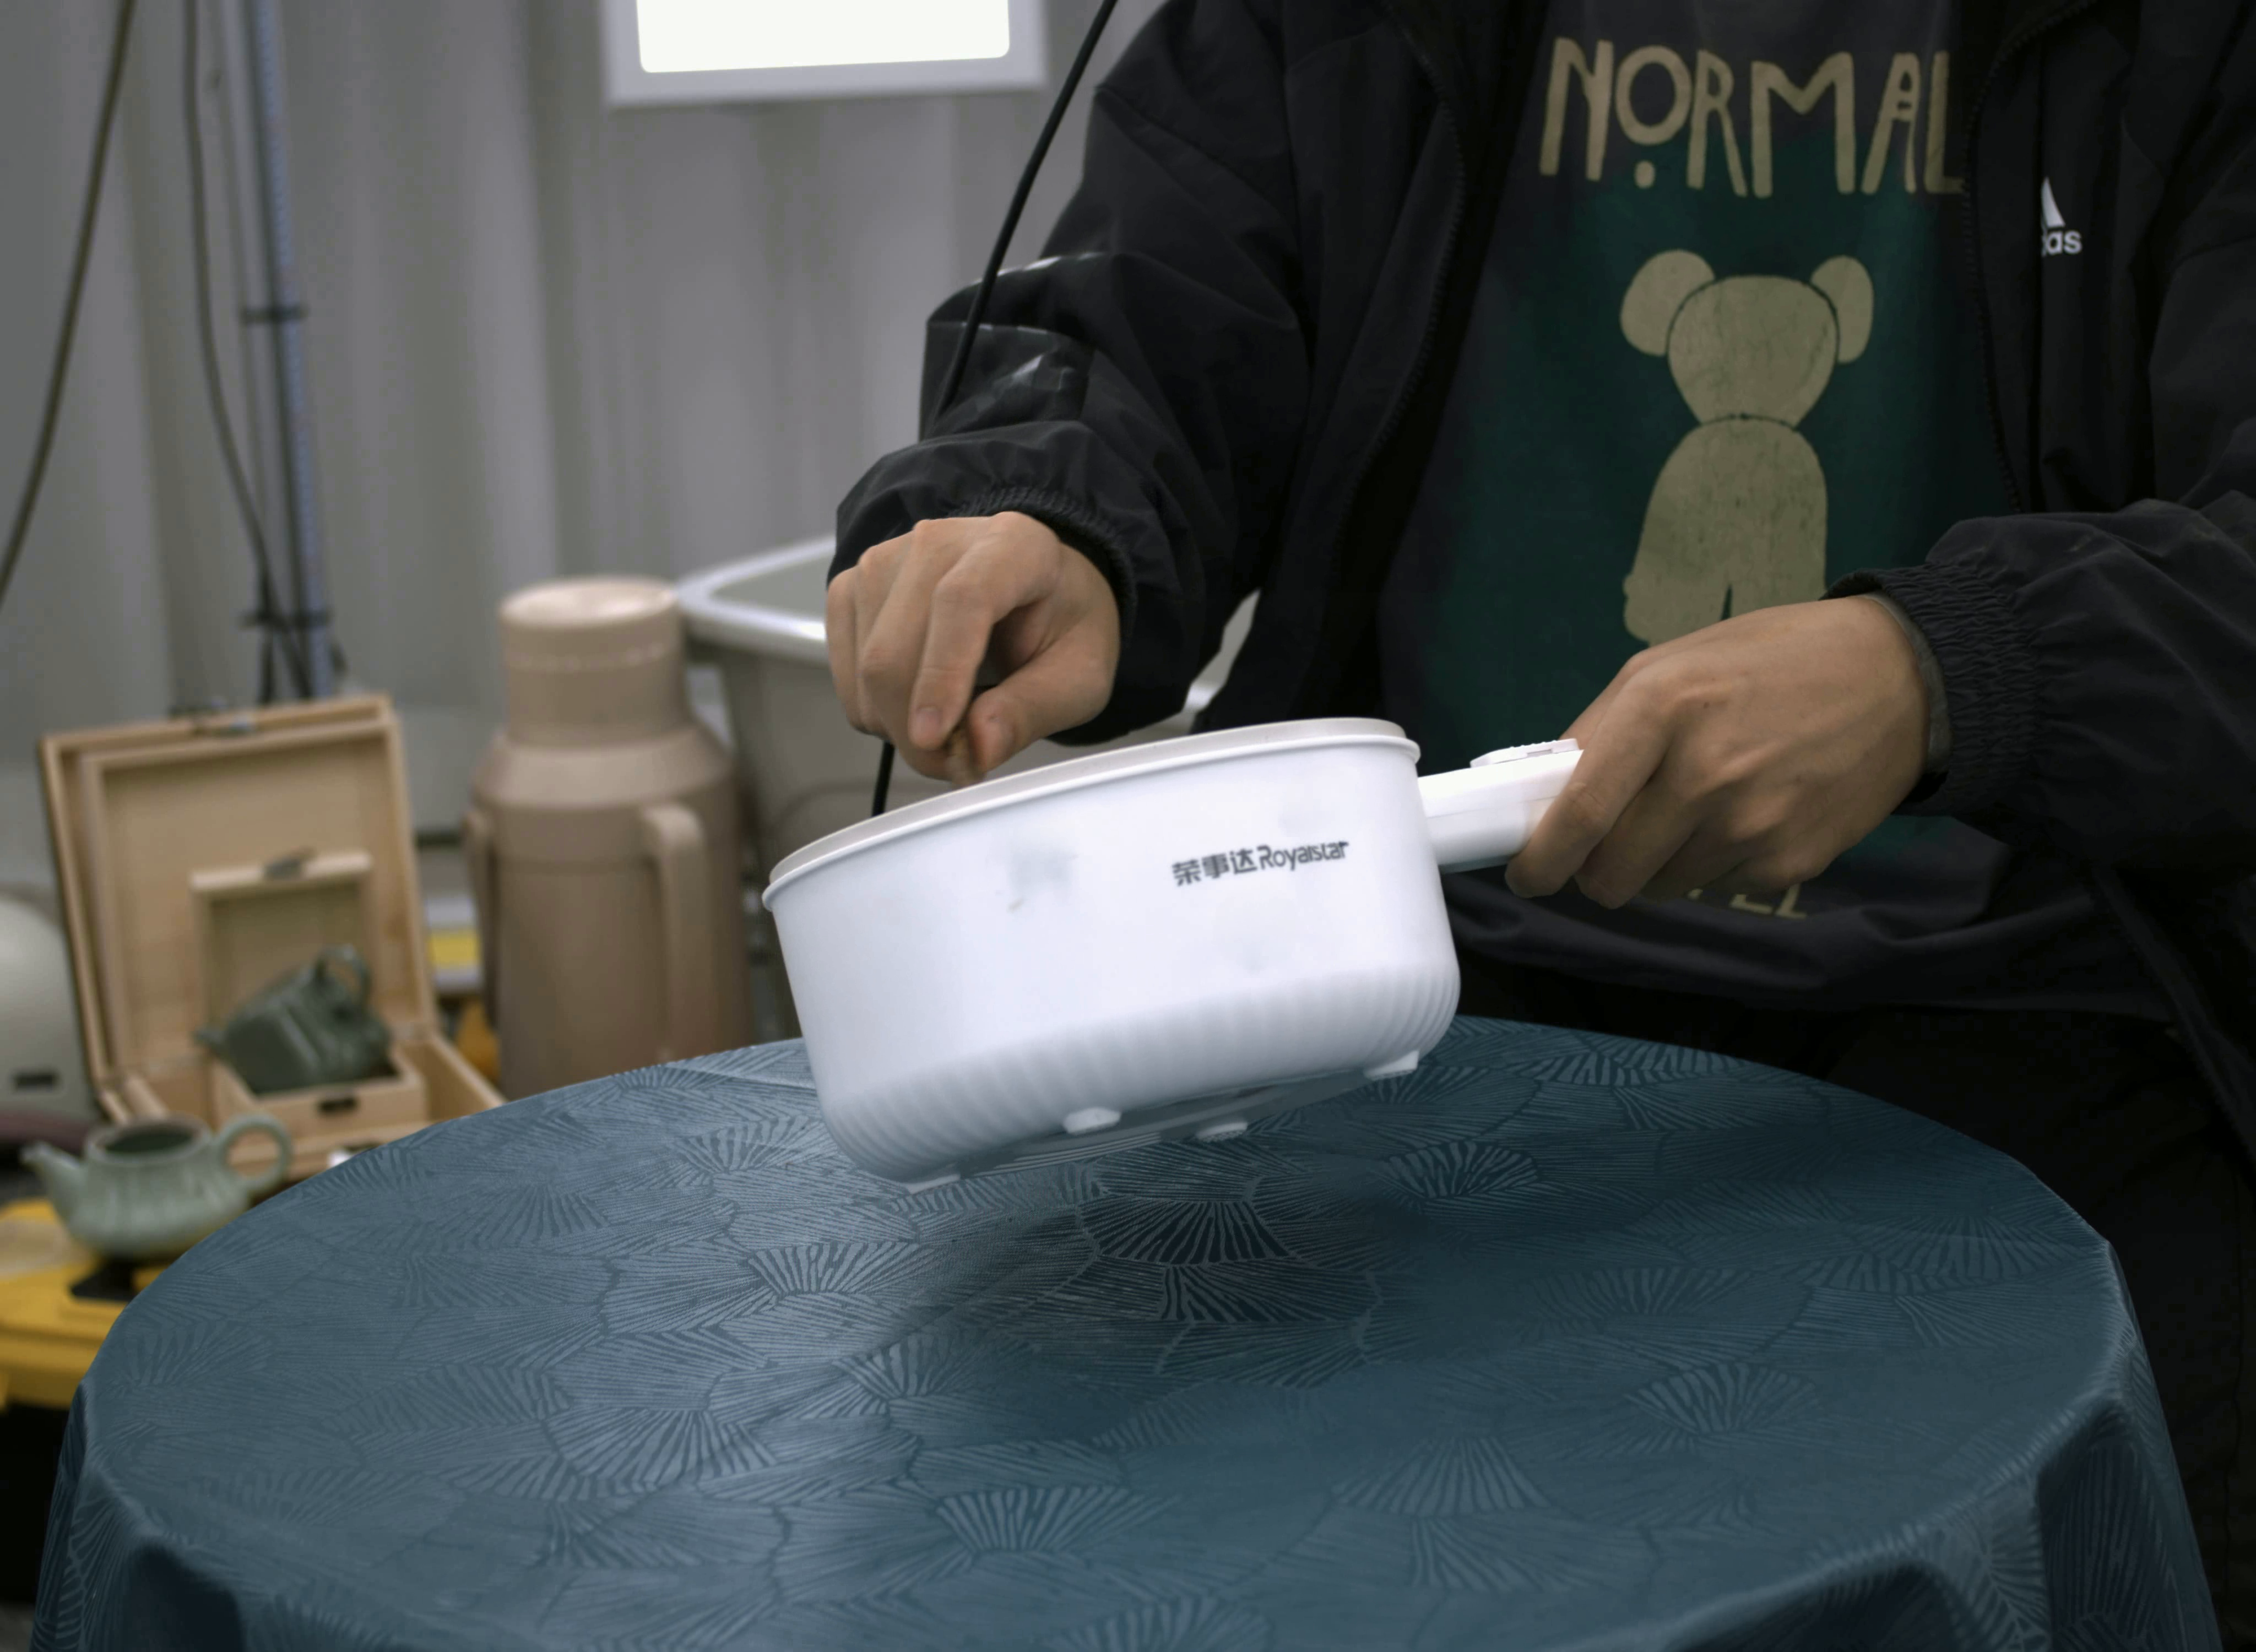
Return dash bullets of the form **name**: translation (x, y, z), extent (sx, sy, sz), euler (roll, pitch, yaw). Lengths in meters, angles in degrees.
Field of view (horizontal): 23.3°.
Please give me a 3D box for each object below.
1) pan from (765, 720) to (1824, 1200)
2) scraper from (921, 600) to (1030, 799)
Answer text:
- **pan**: translation (0.065, 0.036, 1.662), extent (0.353, 0.103, 0.200), euler (-7, -11, -30)
- **scraper**: translation (-0.042, -0.024, 1.675), extent (0.011, 0.075, 0.213), euler (-22, 24, -2)
